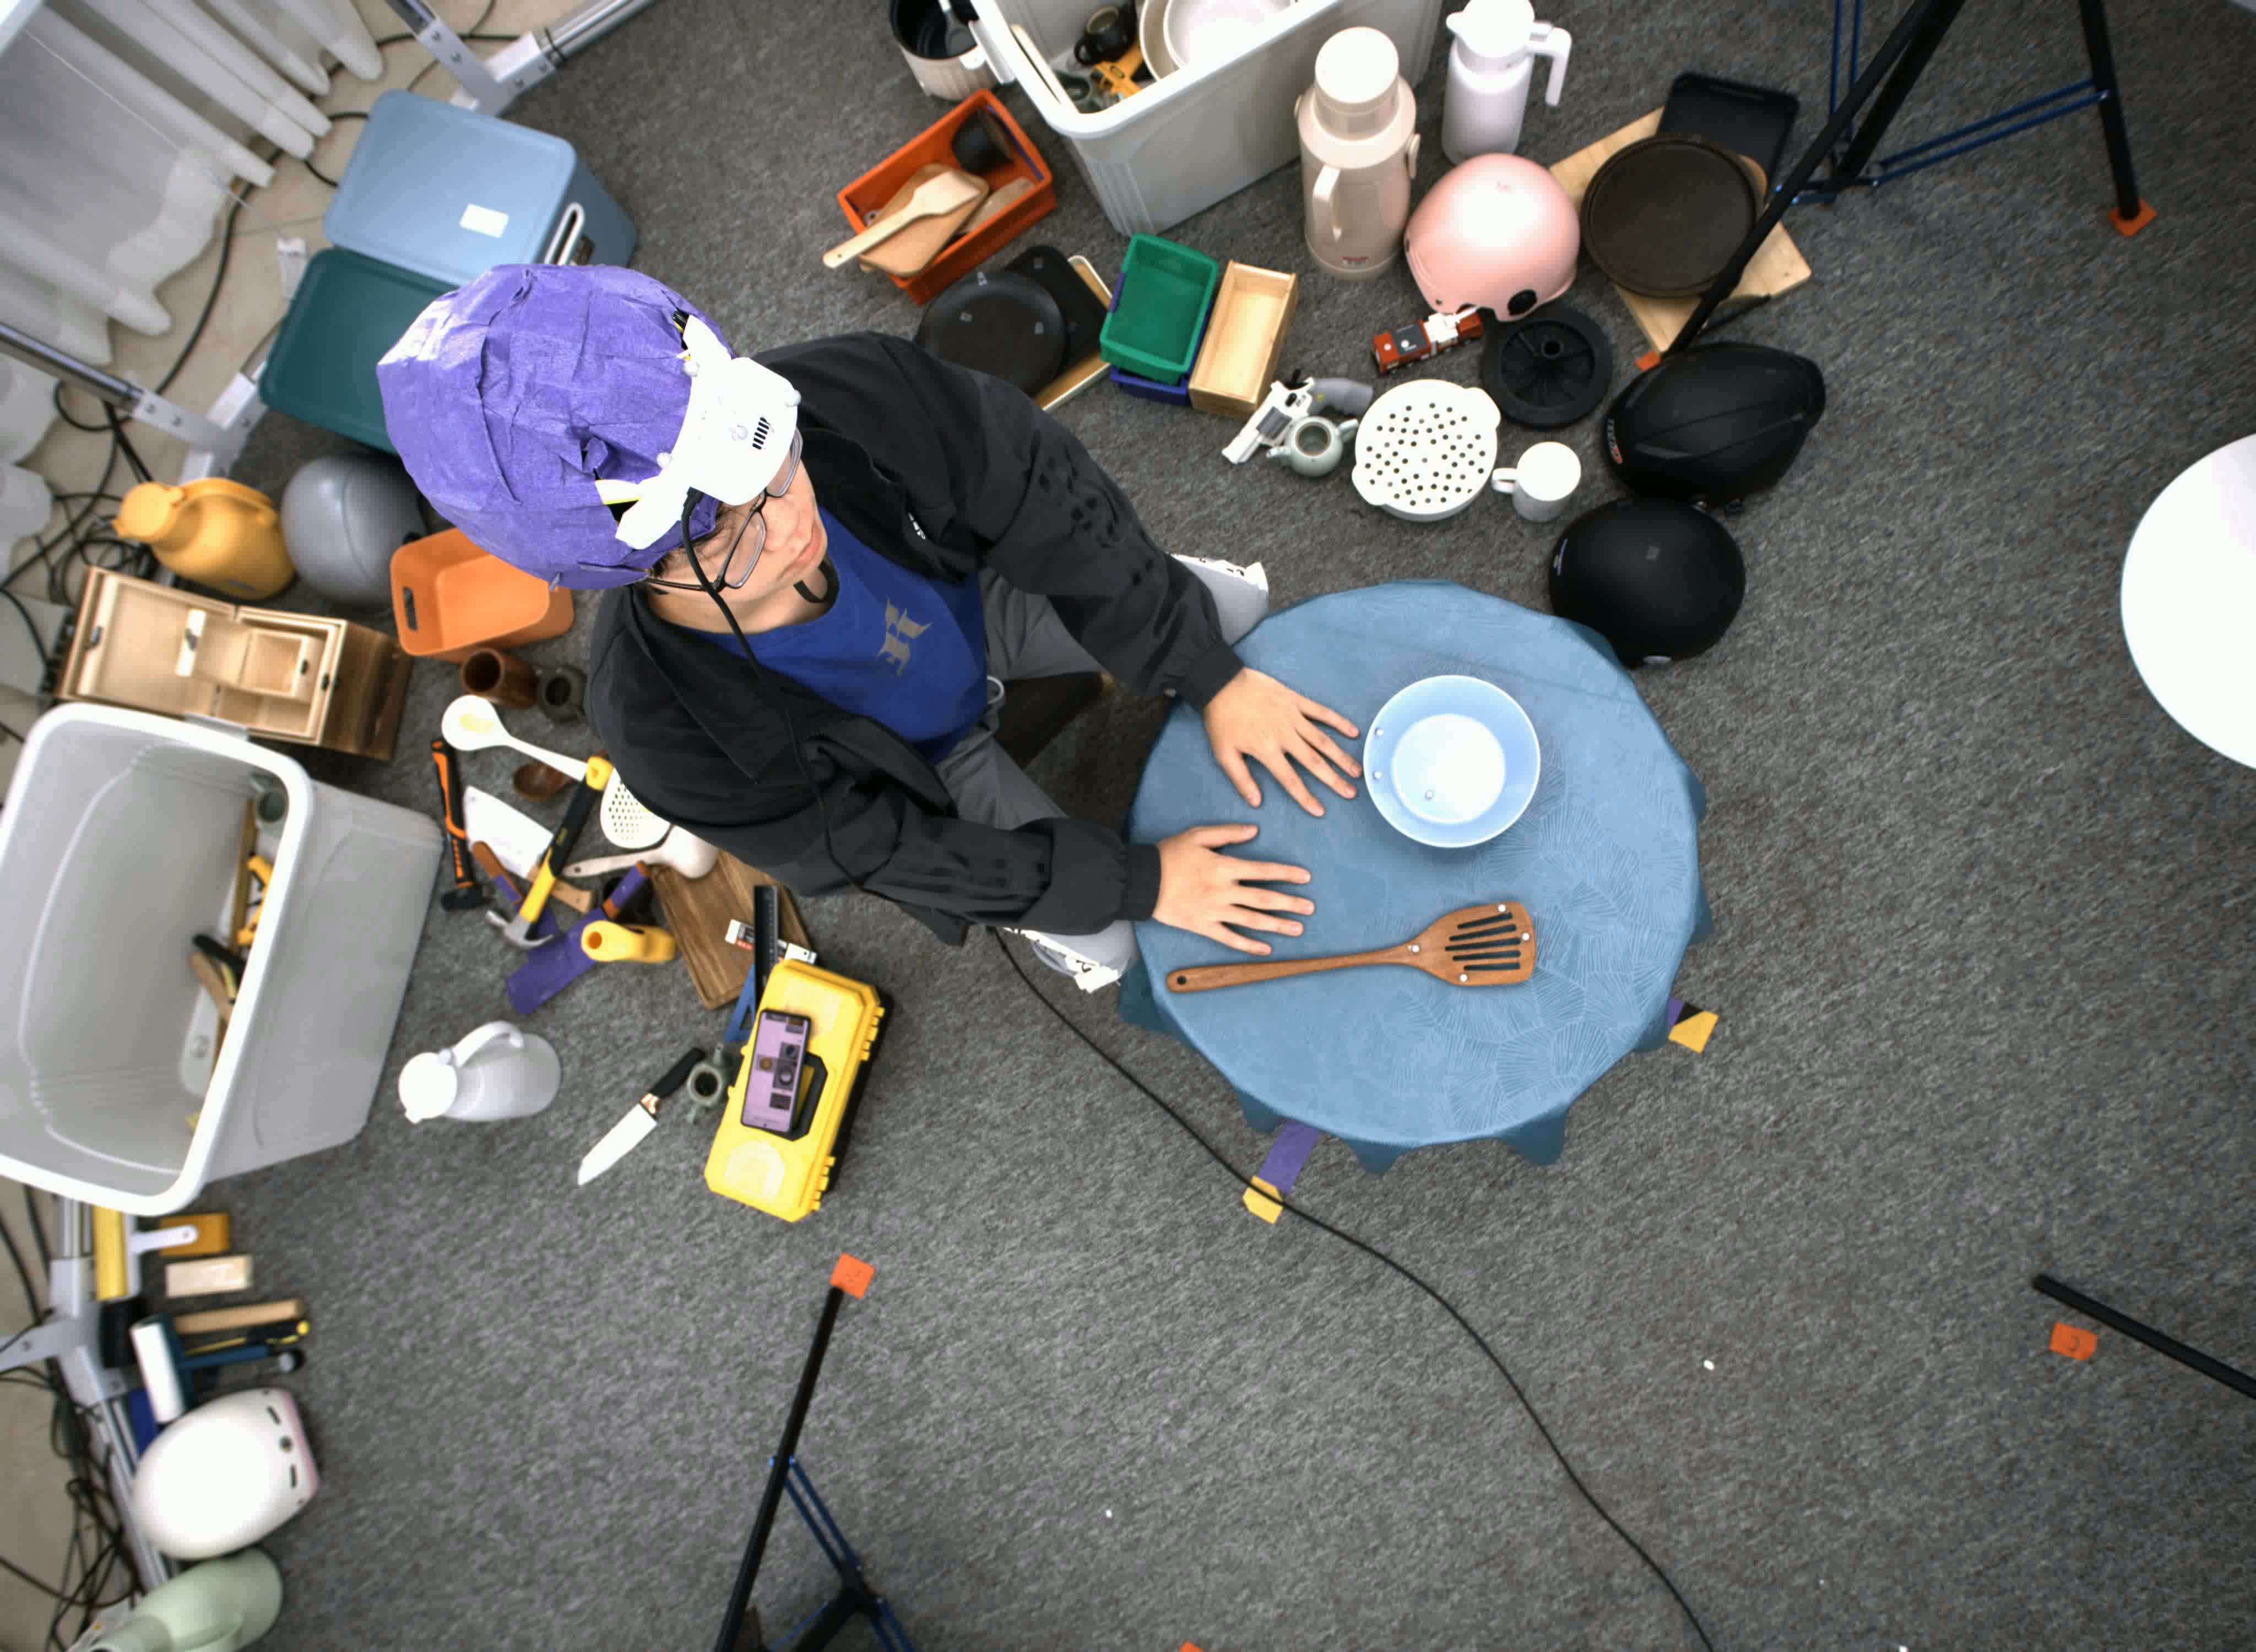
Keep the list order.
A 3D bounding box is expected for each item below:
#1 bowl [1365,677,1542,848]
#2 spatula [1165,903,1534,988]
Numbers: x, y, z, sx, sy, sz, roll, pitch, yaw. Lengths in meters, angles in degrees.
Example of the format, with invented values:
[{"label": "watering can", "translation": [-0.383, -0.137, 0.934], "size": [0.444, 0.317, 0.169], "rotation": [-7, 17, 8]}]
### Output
[{"label": "bowl", "translation": [0.334, -0.063, 1.417], "size": [0.177, 0.070, 0.175], "rotation": [-1, 86, 12]}, {"label": "spatula", "translation": [0.228, 0.140, 1.452], "size": [0.389, 0.024, 0.085], "rotation": [-7, 85, 12]}]
